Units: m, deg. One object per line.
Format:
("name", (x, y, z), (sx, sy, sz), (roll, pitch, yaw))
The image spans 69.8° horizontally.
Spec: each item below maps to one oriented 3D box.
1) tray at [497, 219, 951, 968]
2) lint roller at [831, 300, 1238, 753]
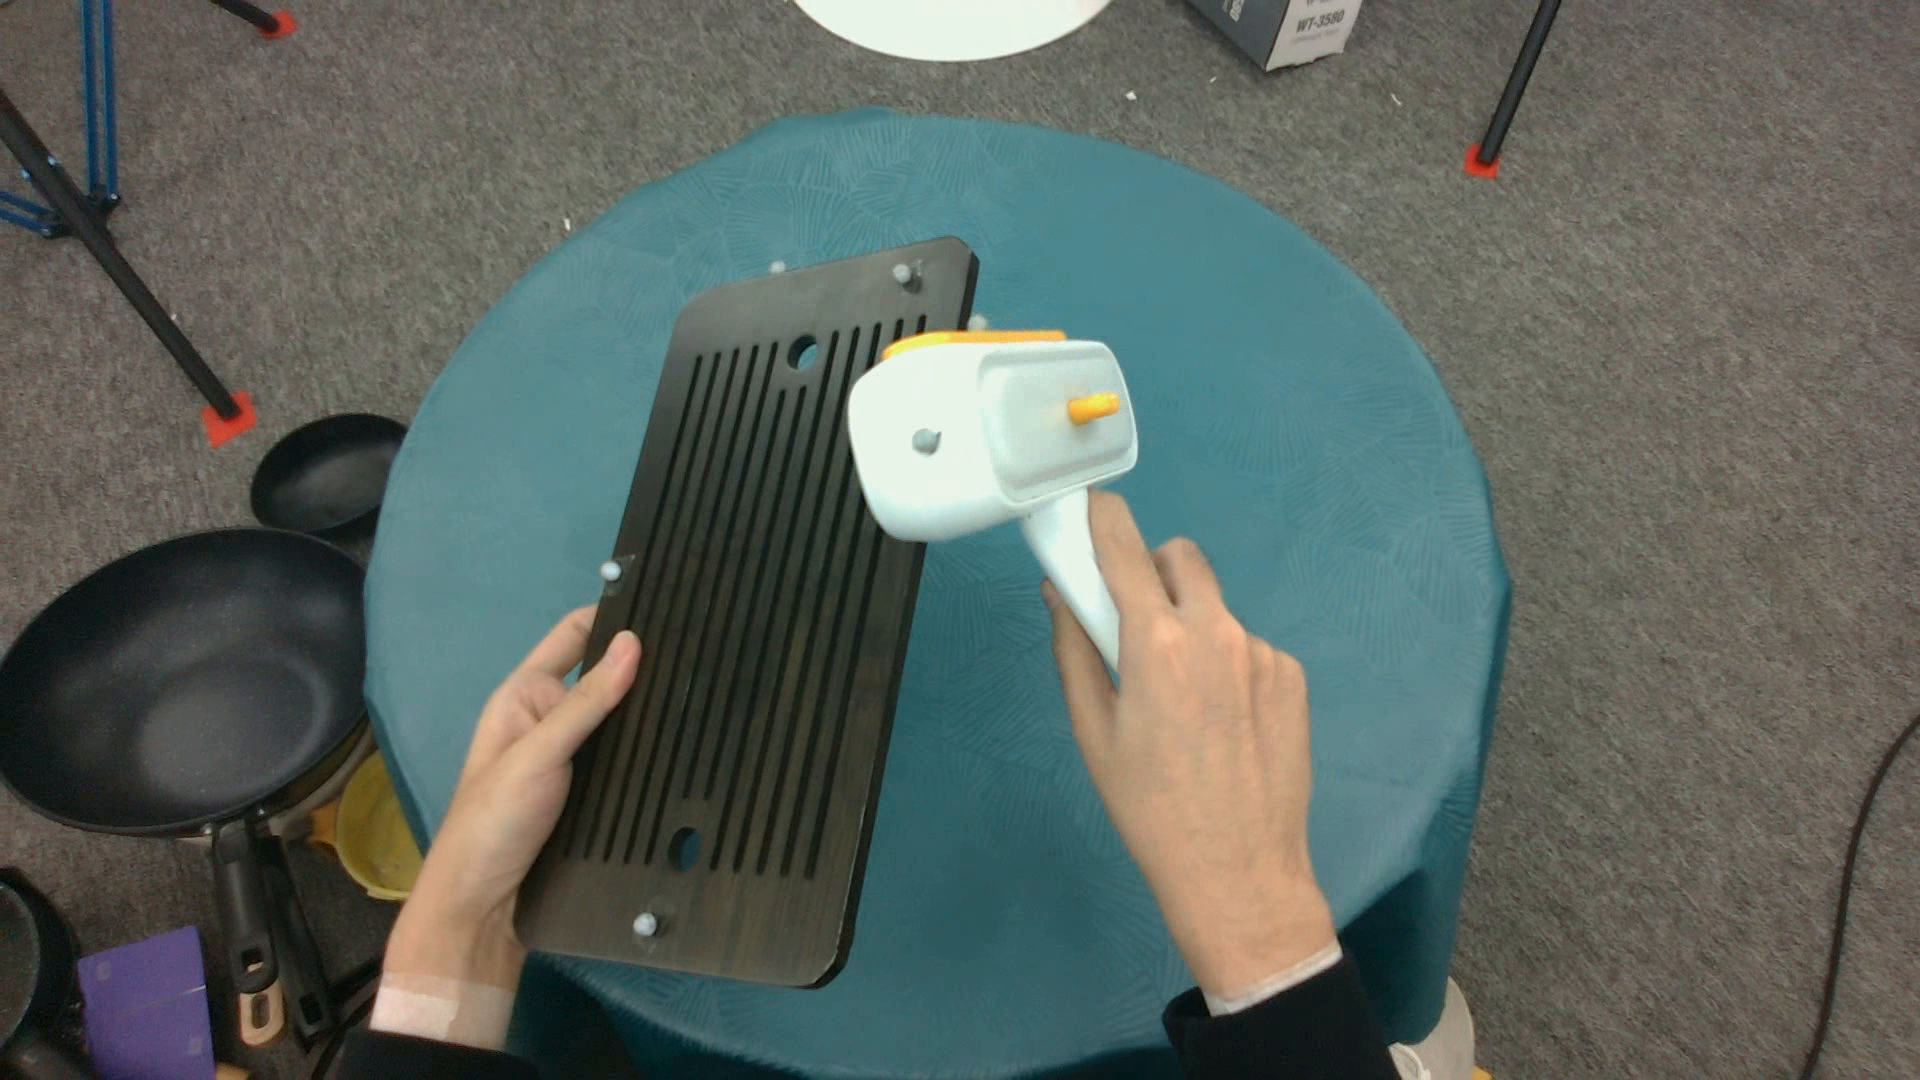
("tray", (-0.094, 0.013, 0.570), (0.169, 0.018, 0.307), (-5, 66, 33))
("lint roller", (0.042, 0.000, 0.529), (0.074, 0.193, 0.192), (-24, 94, 21))
